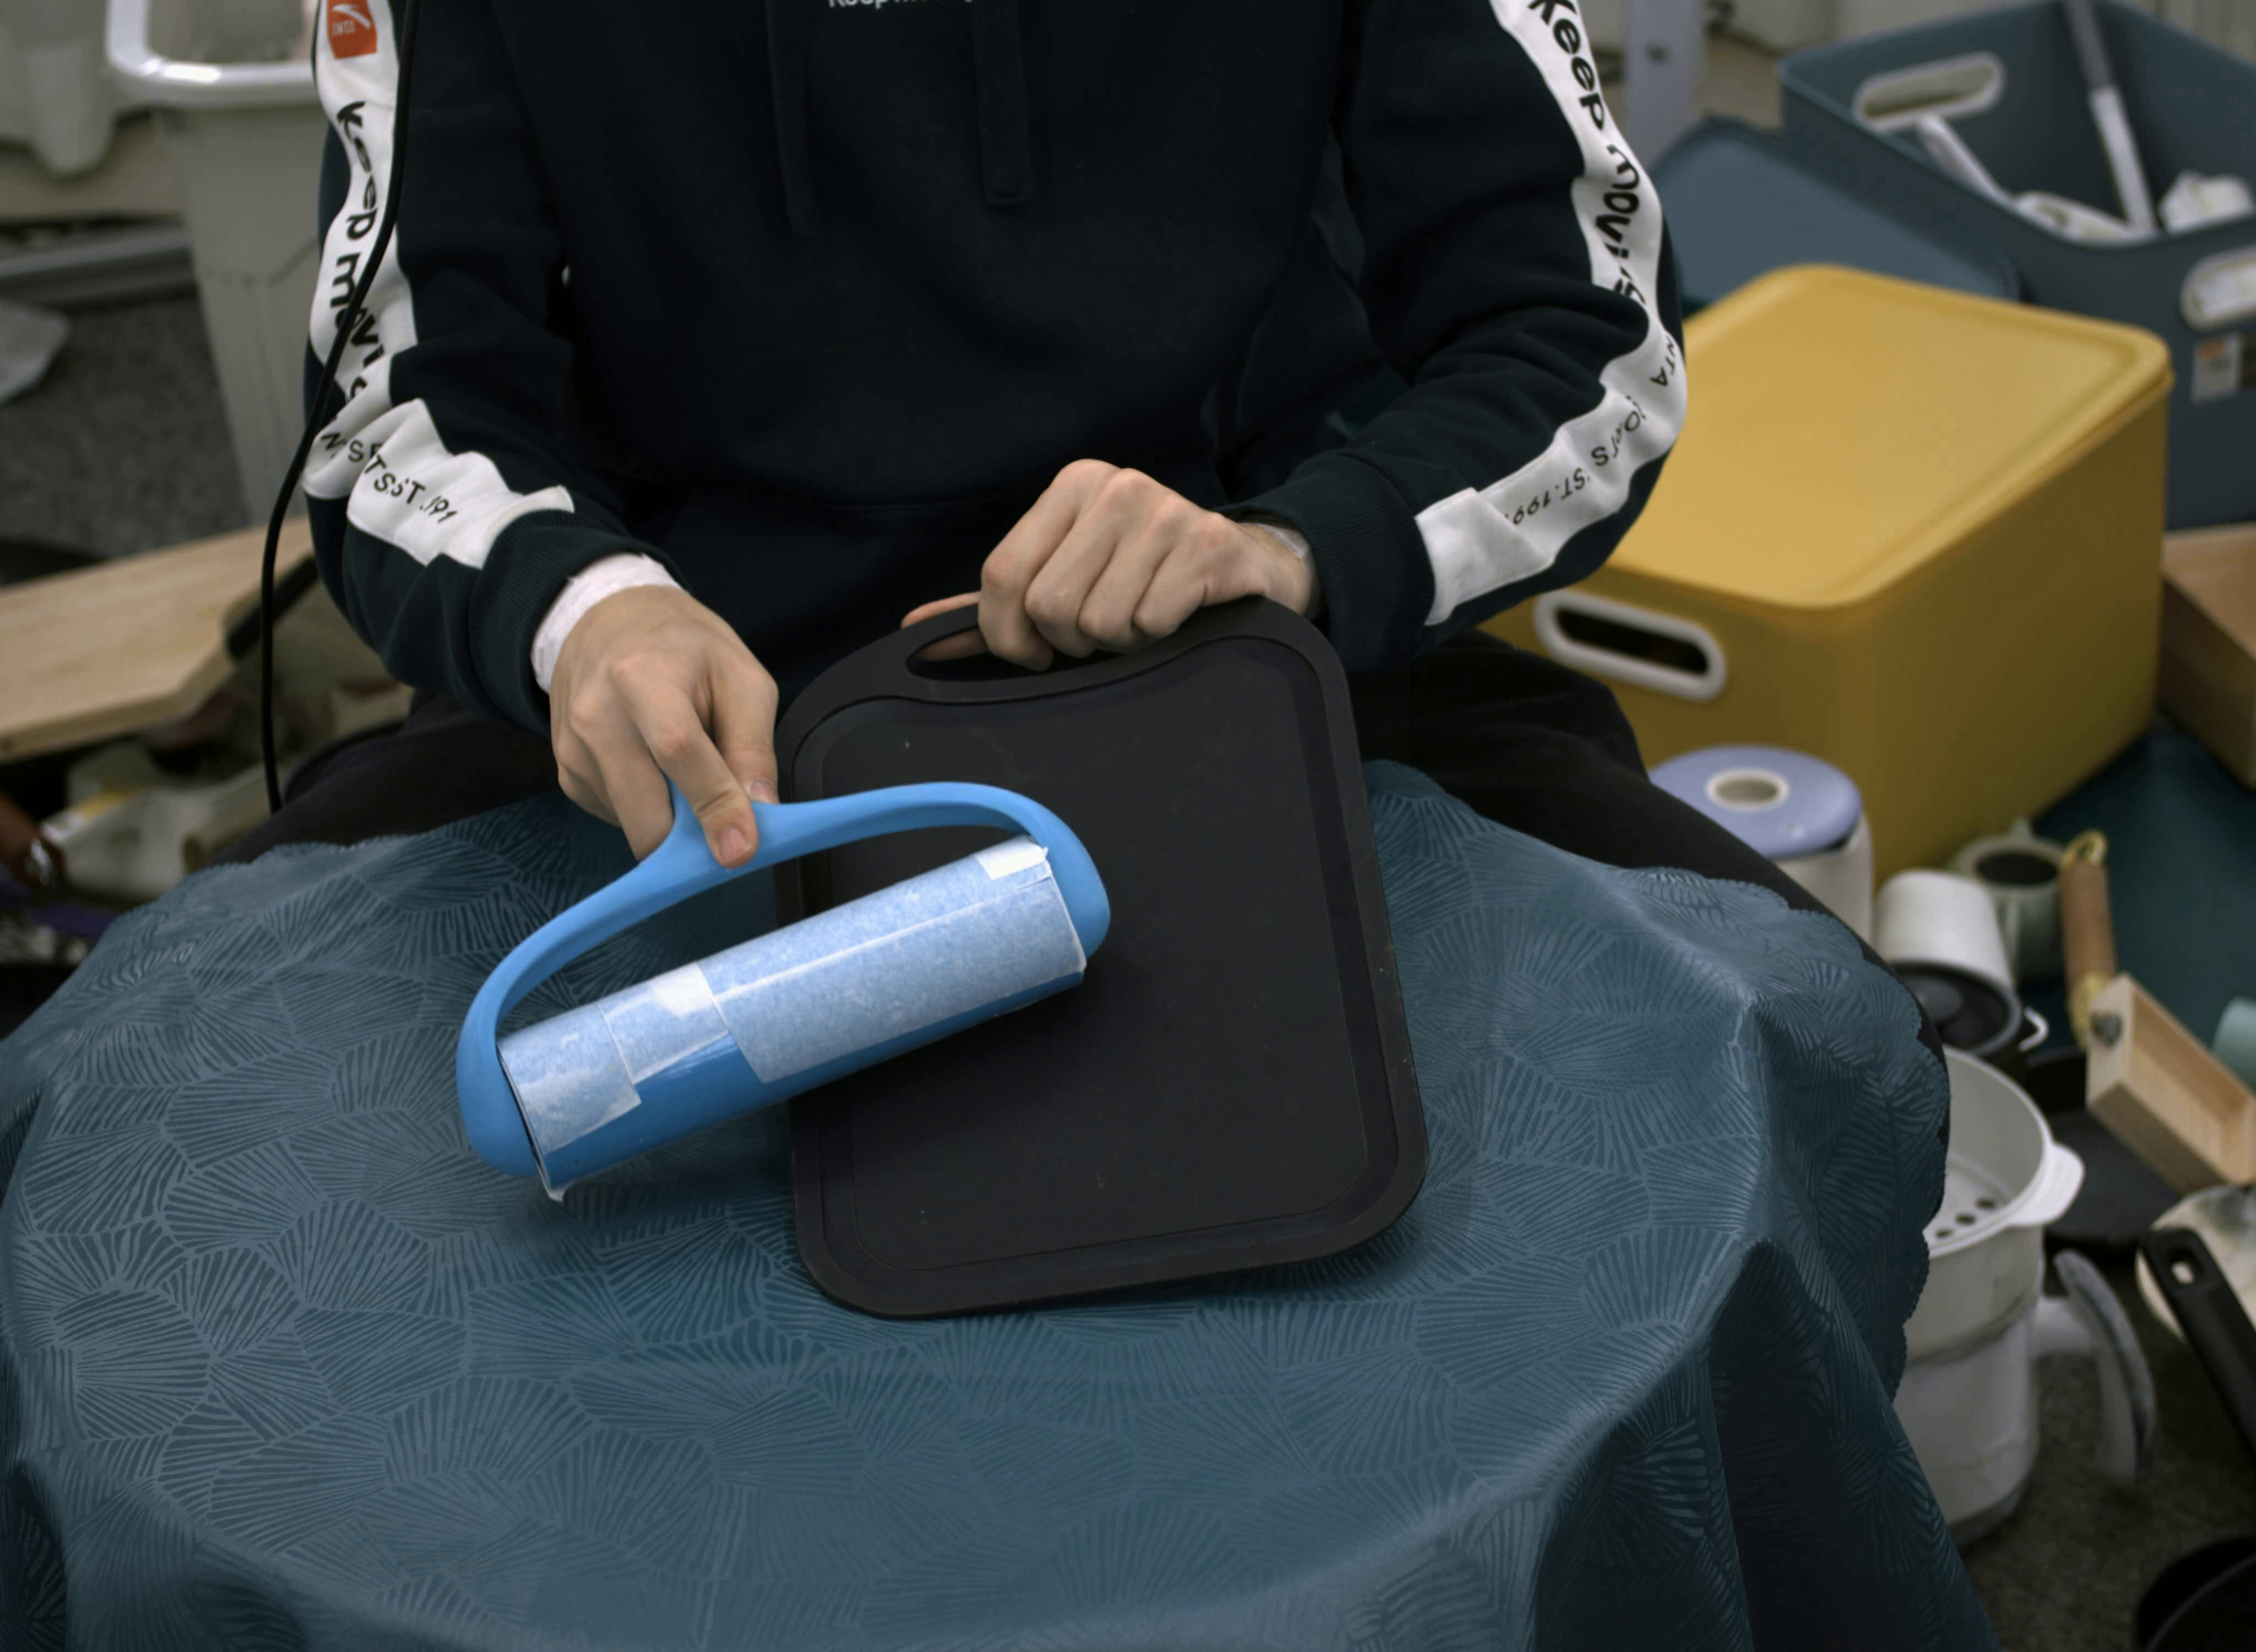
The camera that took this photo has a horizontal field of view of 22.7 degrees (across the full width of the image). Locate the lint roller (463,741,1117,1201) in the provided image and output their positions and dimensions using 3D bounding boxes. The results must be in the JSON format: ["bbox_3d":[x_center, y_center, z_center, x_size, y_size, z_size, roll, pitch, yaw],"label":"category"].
[{"bbox_3d":[-0.135,0.023,1.902,0.229,0.067,0.182,-24,52,-11],"label":"lint roller"}]

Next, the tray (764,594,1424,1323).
[{"bbox_3d":[-0.018,0.034,1.911,0.210,0.009,0.331,-8,45,1],"label":"tray"}]
